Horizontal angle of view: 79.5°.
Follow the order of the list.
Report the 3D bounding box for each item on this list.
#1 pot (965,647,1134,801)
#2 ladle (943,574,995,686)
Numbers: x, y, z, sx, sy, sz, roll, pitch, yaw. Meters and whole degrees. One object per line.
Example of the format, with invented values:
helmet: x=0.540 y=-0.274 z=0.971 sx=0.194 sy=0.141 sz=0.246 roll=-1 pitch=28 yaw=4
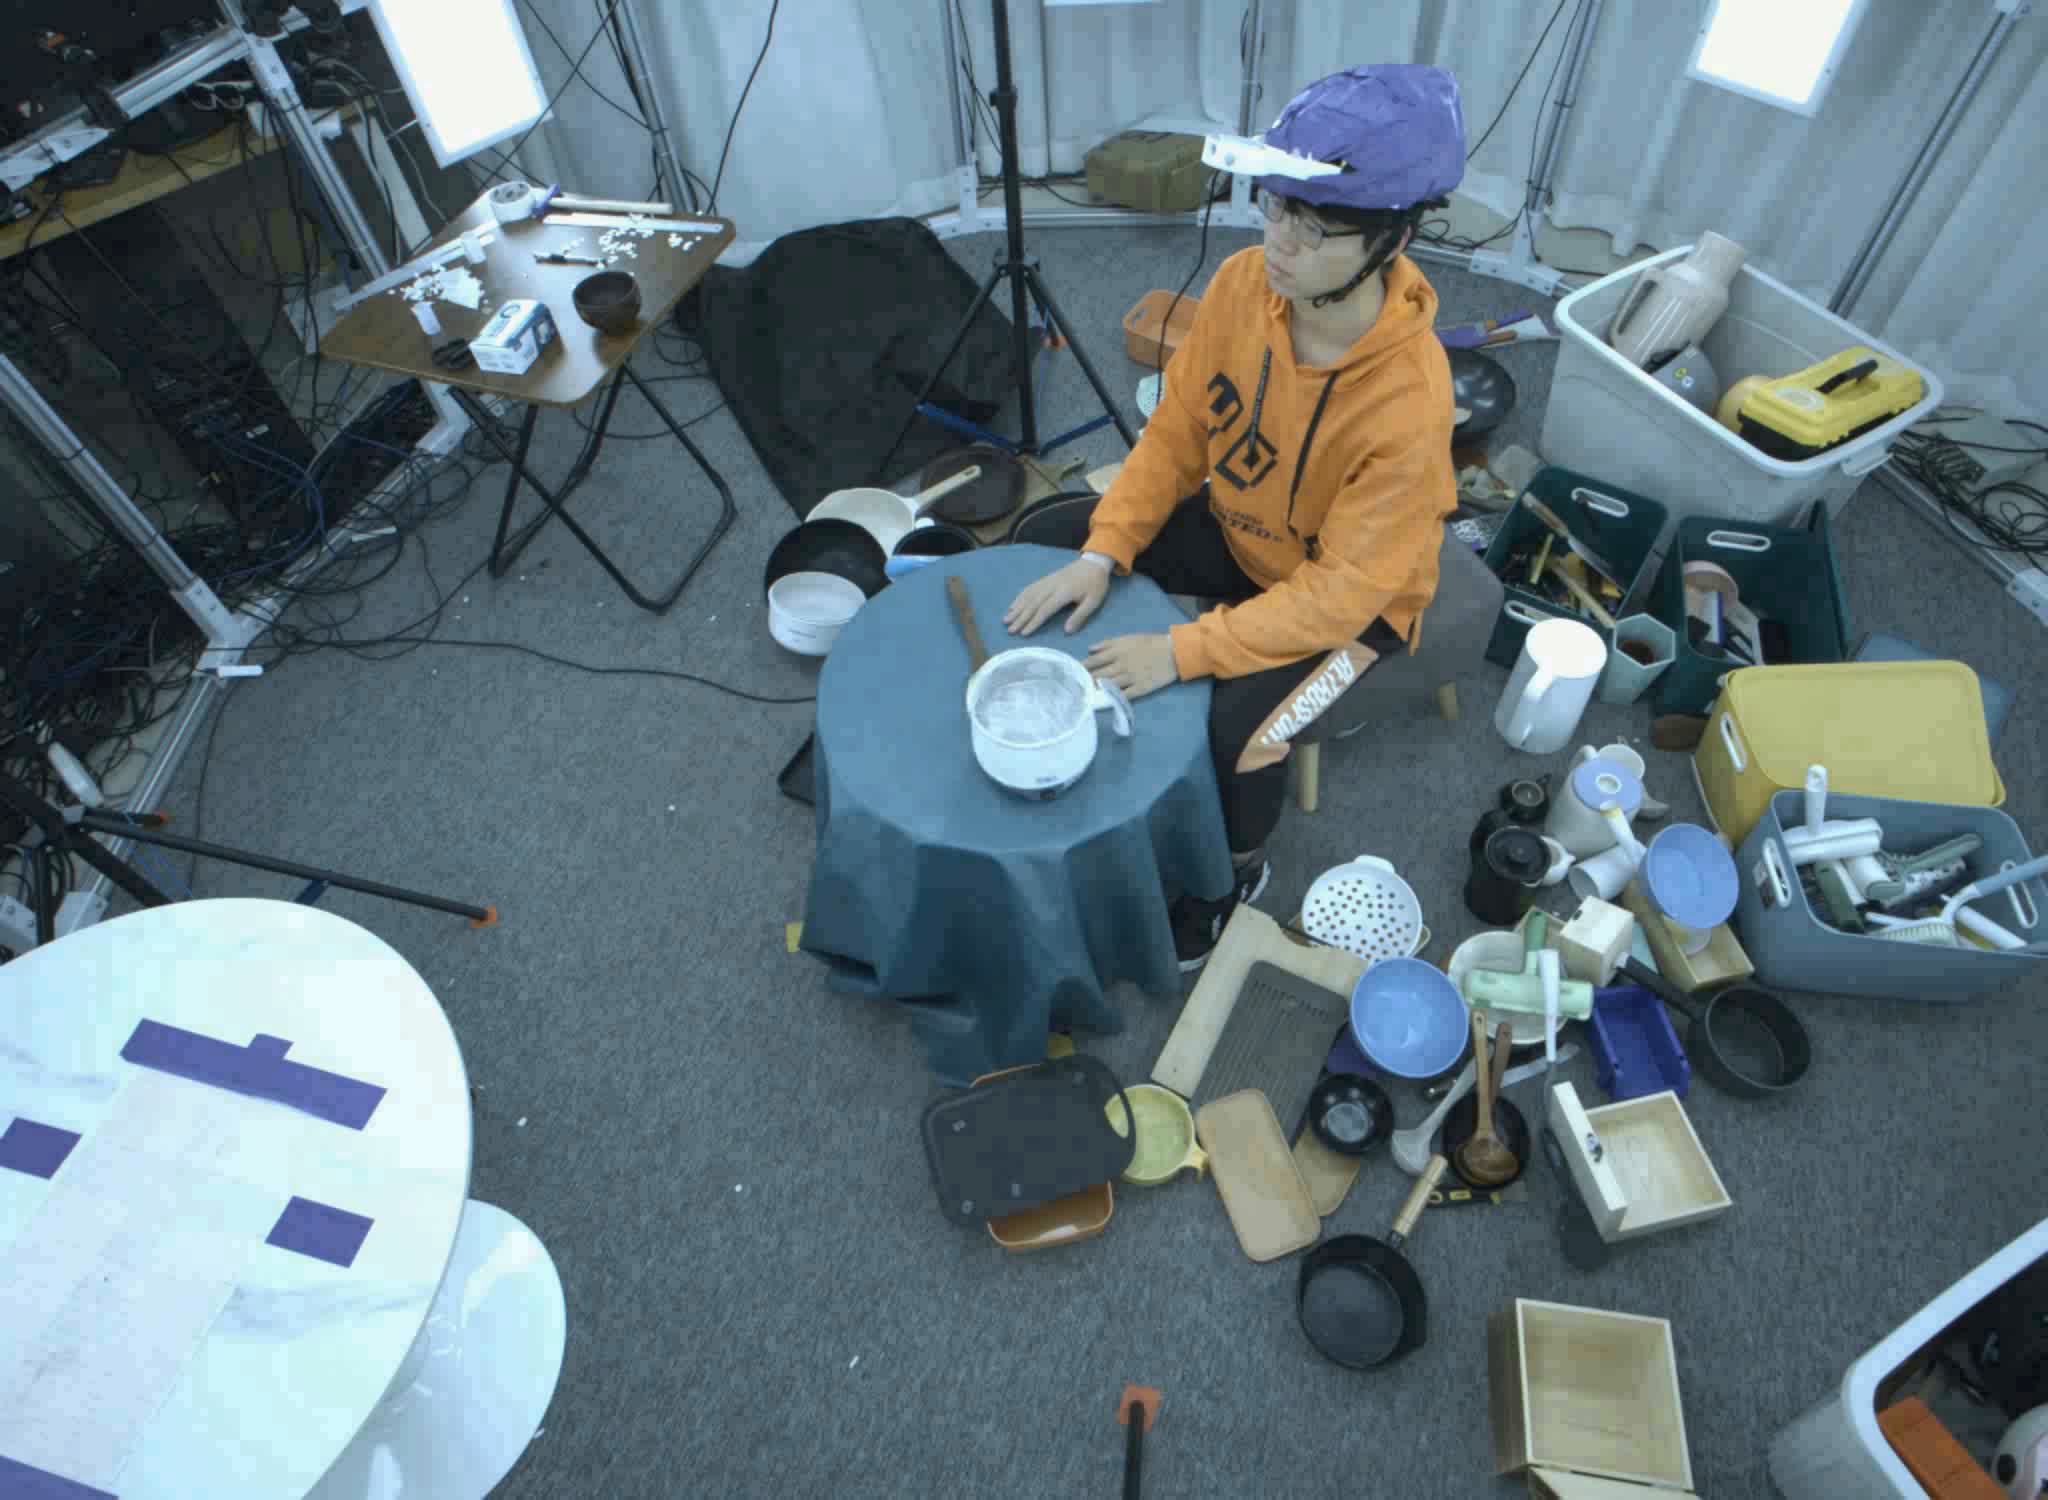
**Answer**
pot: x=0.040 y=-0.042 z=1.730 sx=0.235 sy=0.138 sz=0.176 roll=-12 pitch=56 yaw=-6
ladle: x=-0.084 y=-0.197 z=1.887 sx=0.076 sy=0.072 sz=0.269 roll=-13 pitch=56 yaw=-10
